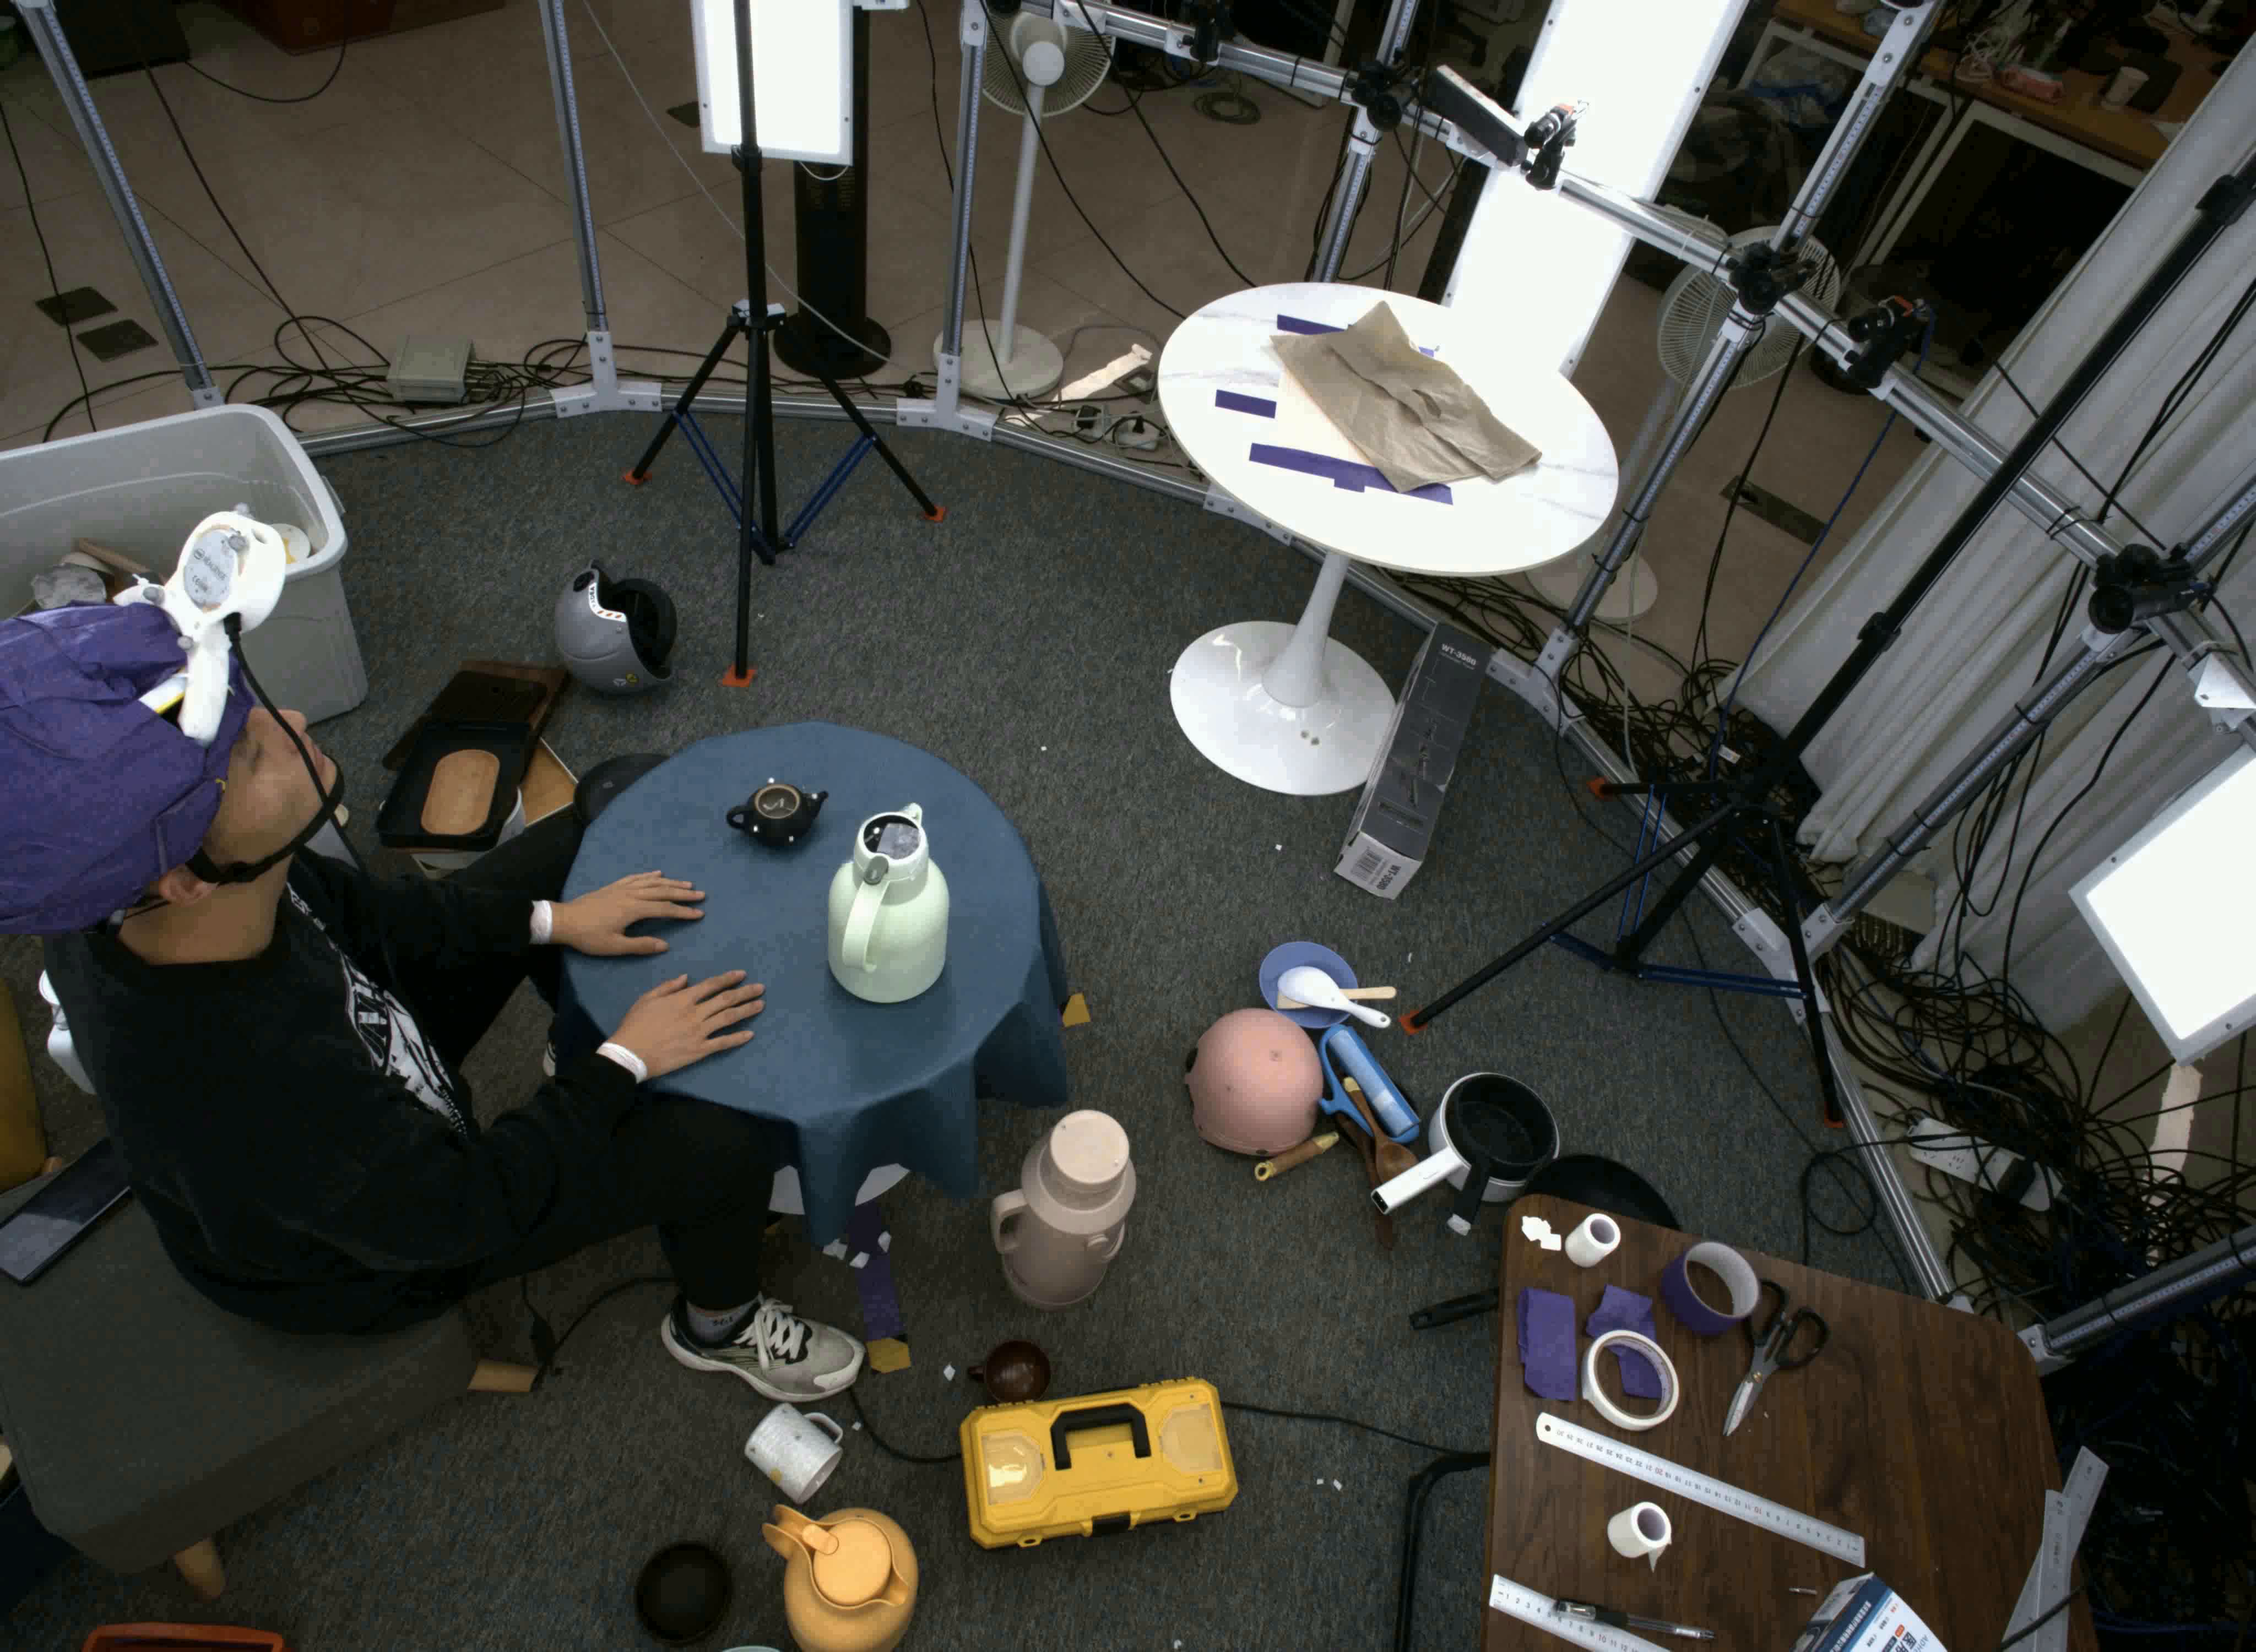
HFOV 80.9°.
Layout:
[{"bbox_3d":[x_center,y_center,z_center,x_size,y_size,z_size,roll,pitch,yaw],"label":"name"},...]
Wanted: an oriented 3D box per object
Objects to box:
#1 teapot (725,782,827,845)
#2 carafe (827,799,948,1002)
[{"bbox_3d":[-0.459,-0.018,1.691,0.134,0.054,0.088,-11,55,-22],"label":"teapot"},{"bbox_3d":[-0.287,0.096,1.524,0.143,0.262,0.185,17,54,0],"label":"carafe"}]
